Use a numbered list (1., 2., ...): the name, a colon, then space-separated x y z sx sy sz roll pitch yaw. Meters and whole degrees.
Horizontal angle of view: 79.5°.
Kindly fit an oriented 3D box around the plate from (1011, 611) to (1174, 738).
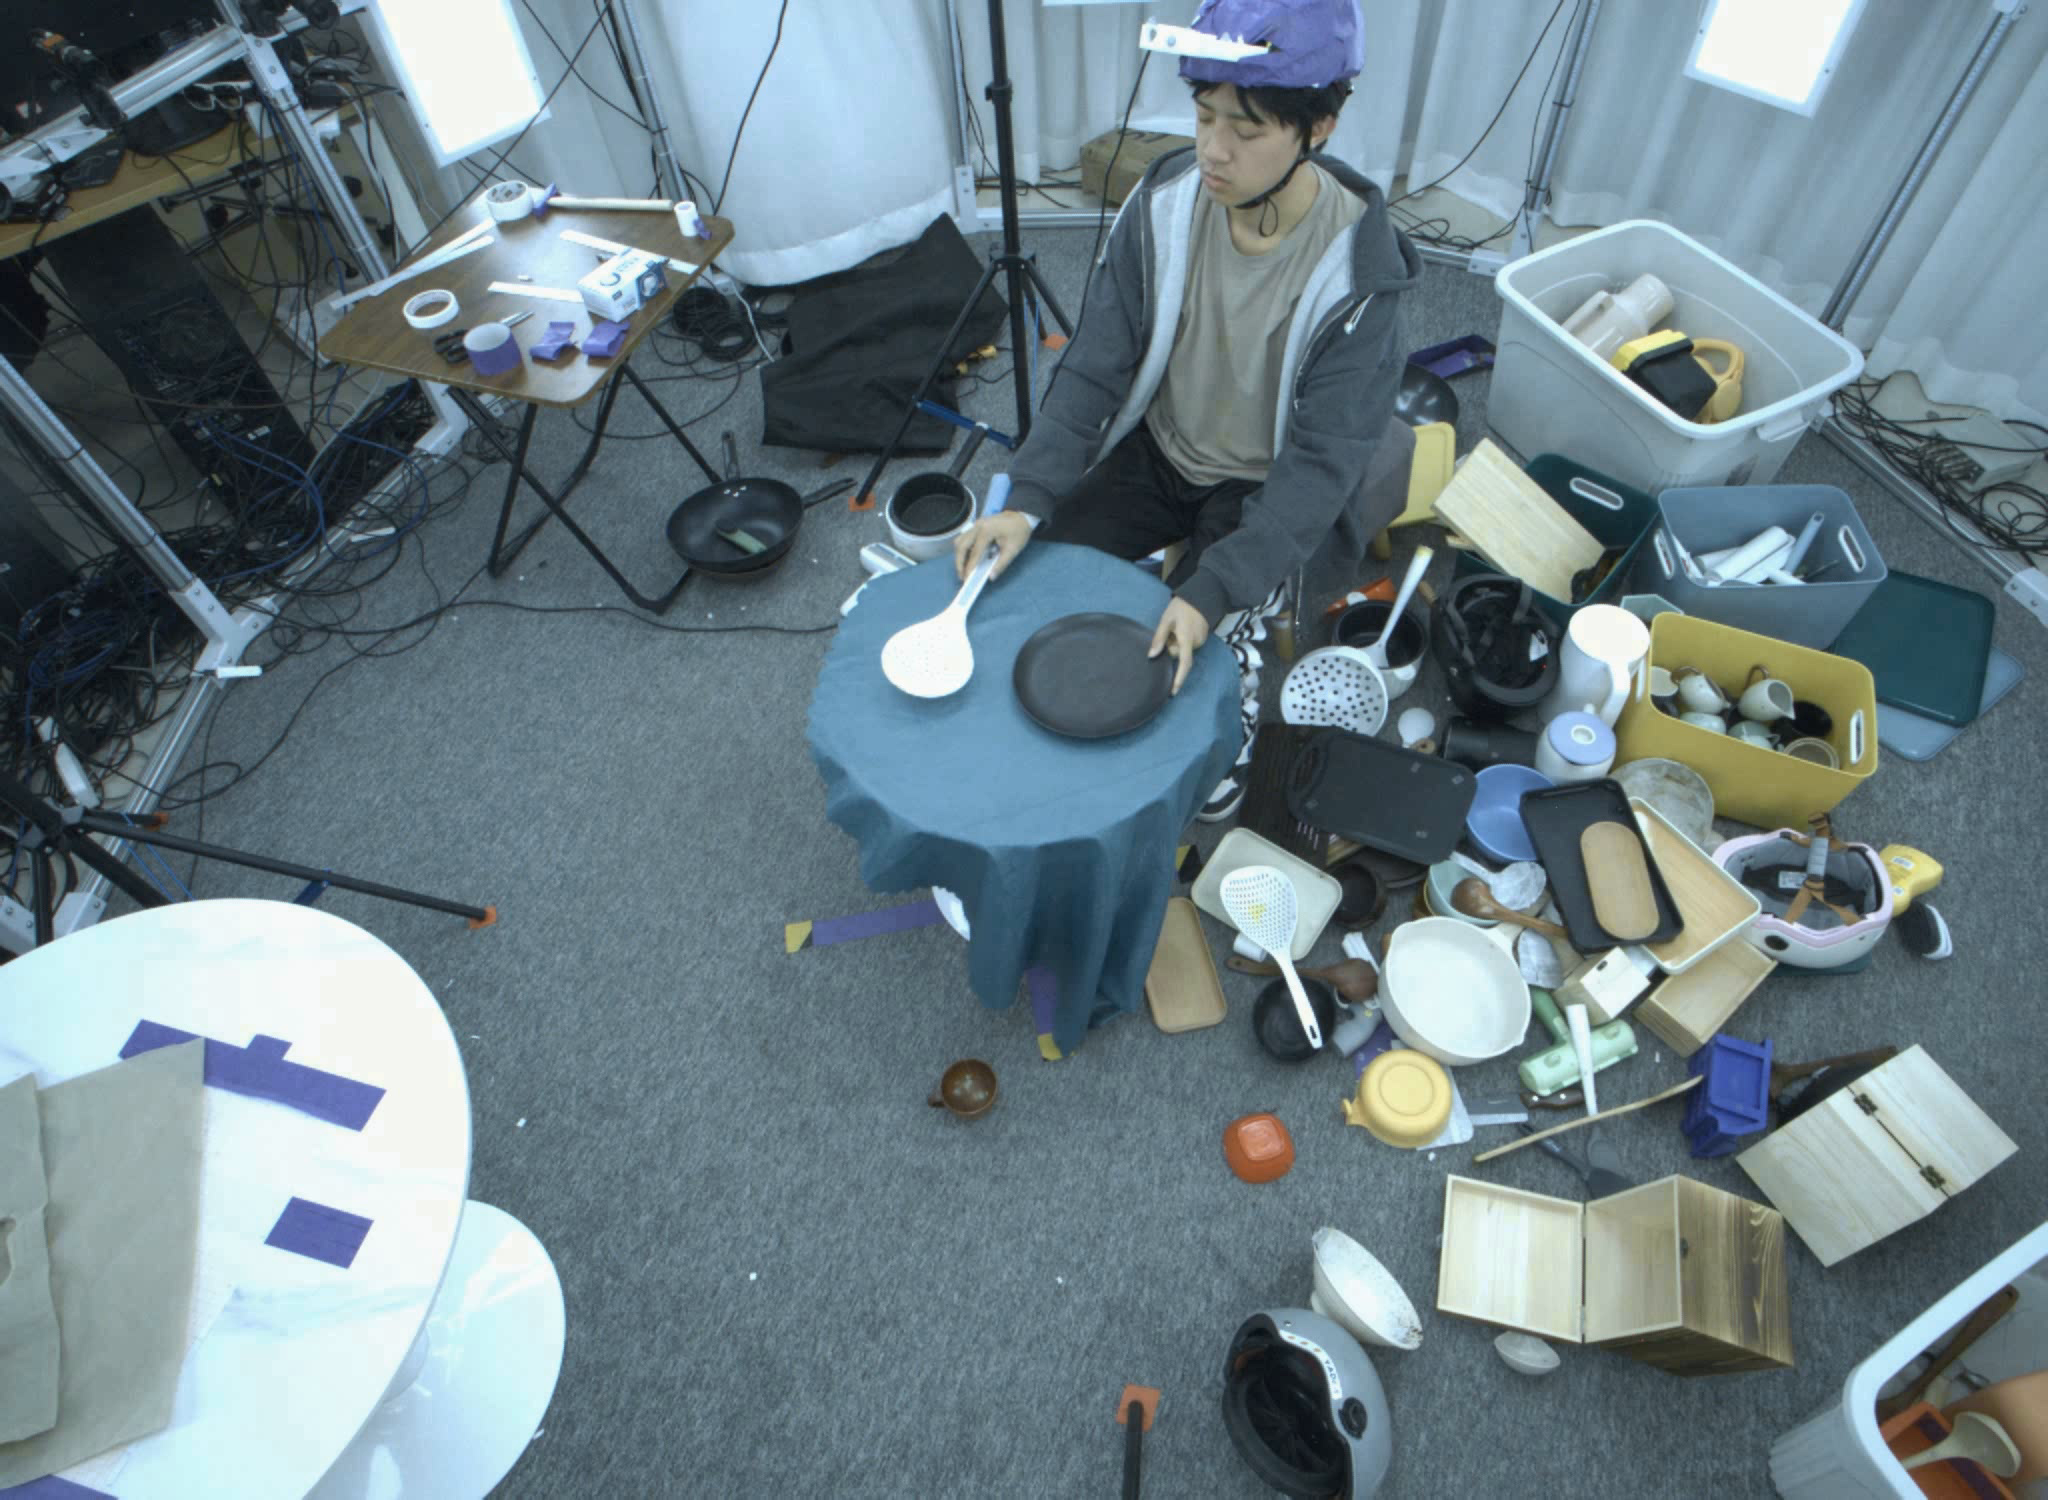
1. plate: 0.102 -0.112 1.850 0.244 0.024 0.242 -1 55 3

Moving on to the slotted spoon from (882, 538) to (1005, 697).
1. slotted spoon: -0.108 -0.212 1.907 0.136 0.046 0.349 24 60 3
